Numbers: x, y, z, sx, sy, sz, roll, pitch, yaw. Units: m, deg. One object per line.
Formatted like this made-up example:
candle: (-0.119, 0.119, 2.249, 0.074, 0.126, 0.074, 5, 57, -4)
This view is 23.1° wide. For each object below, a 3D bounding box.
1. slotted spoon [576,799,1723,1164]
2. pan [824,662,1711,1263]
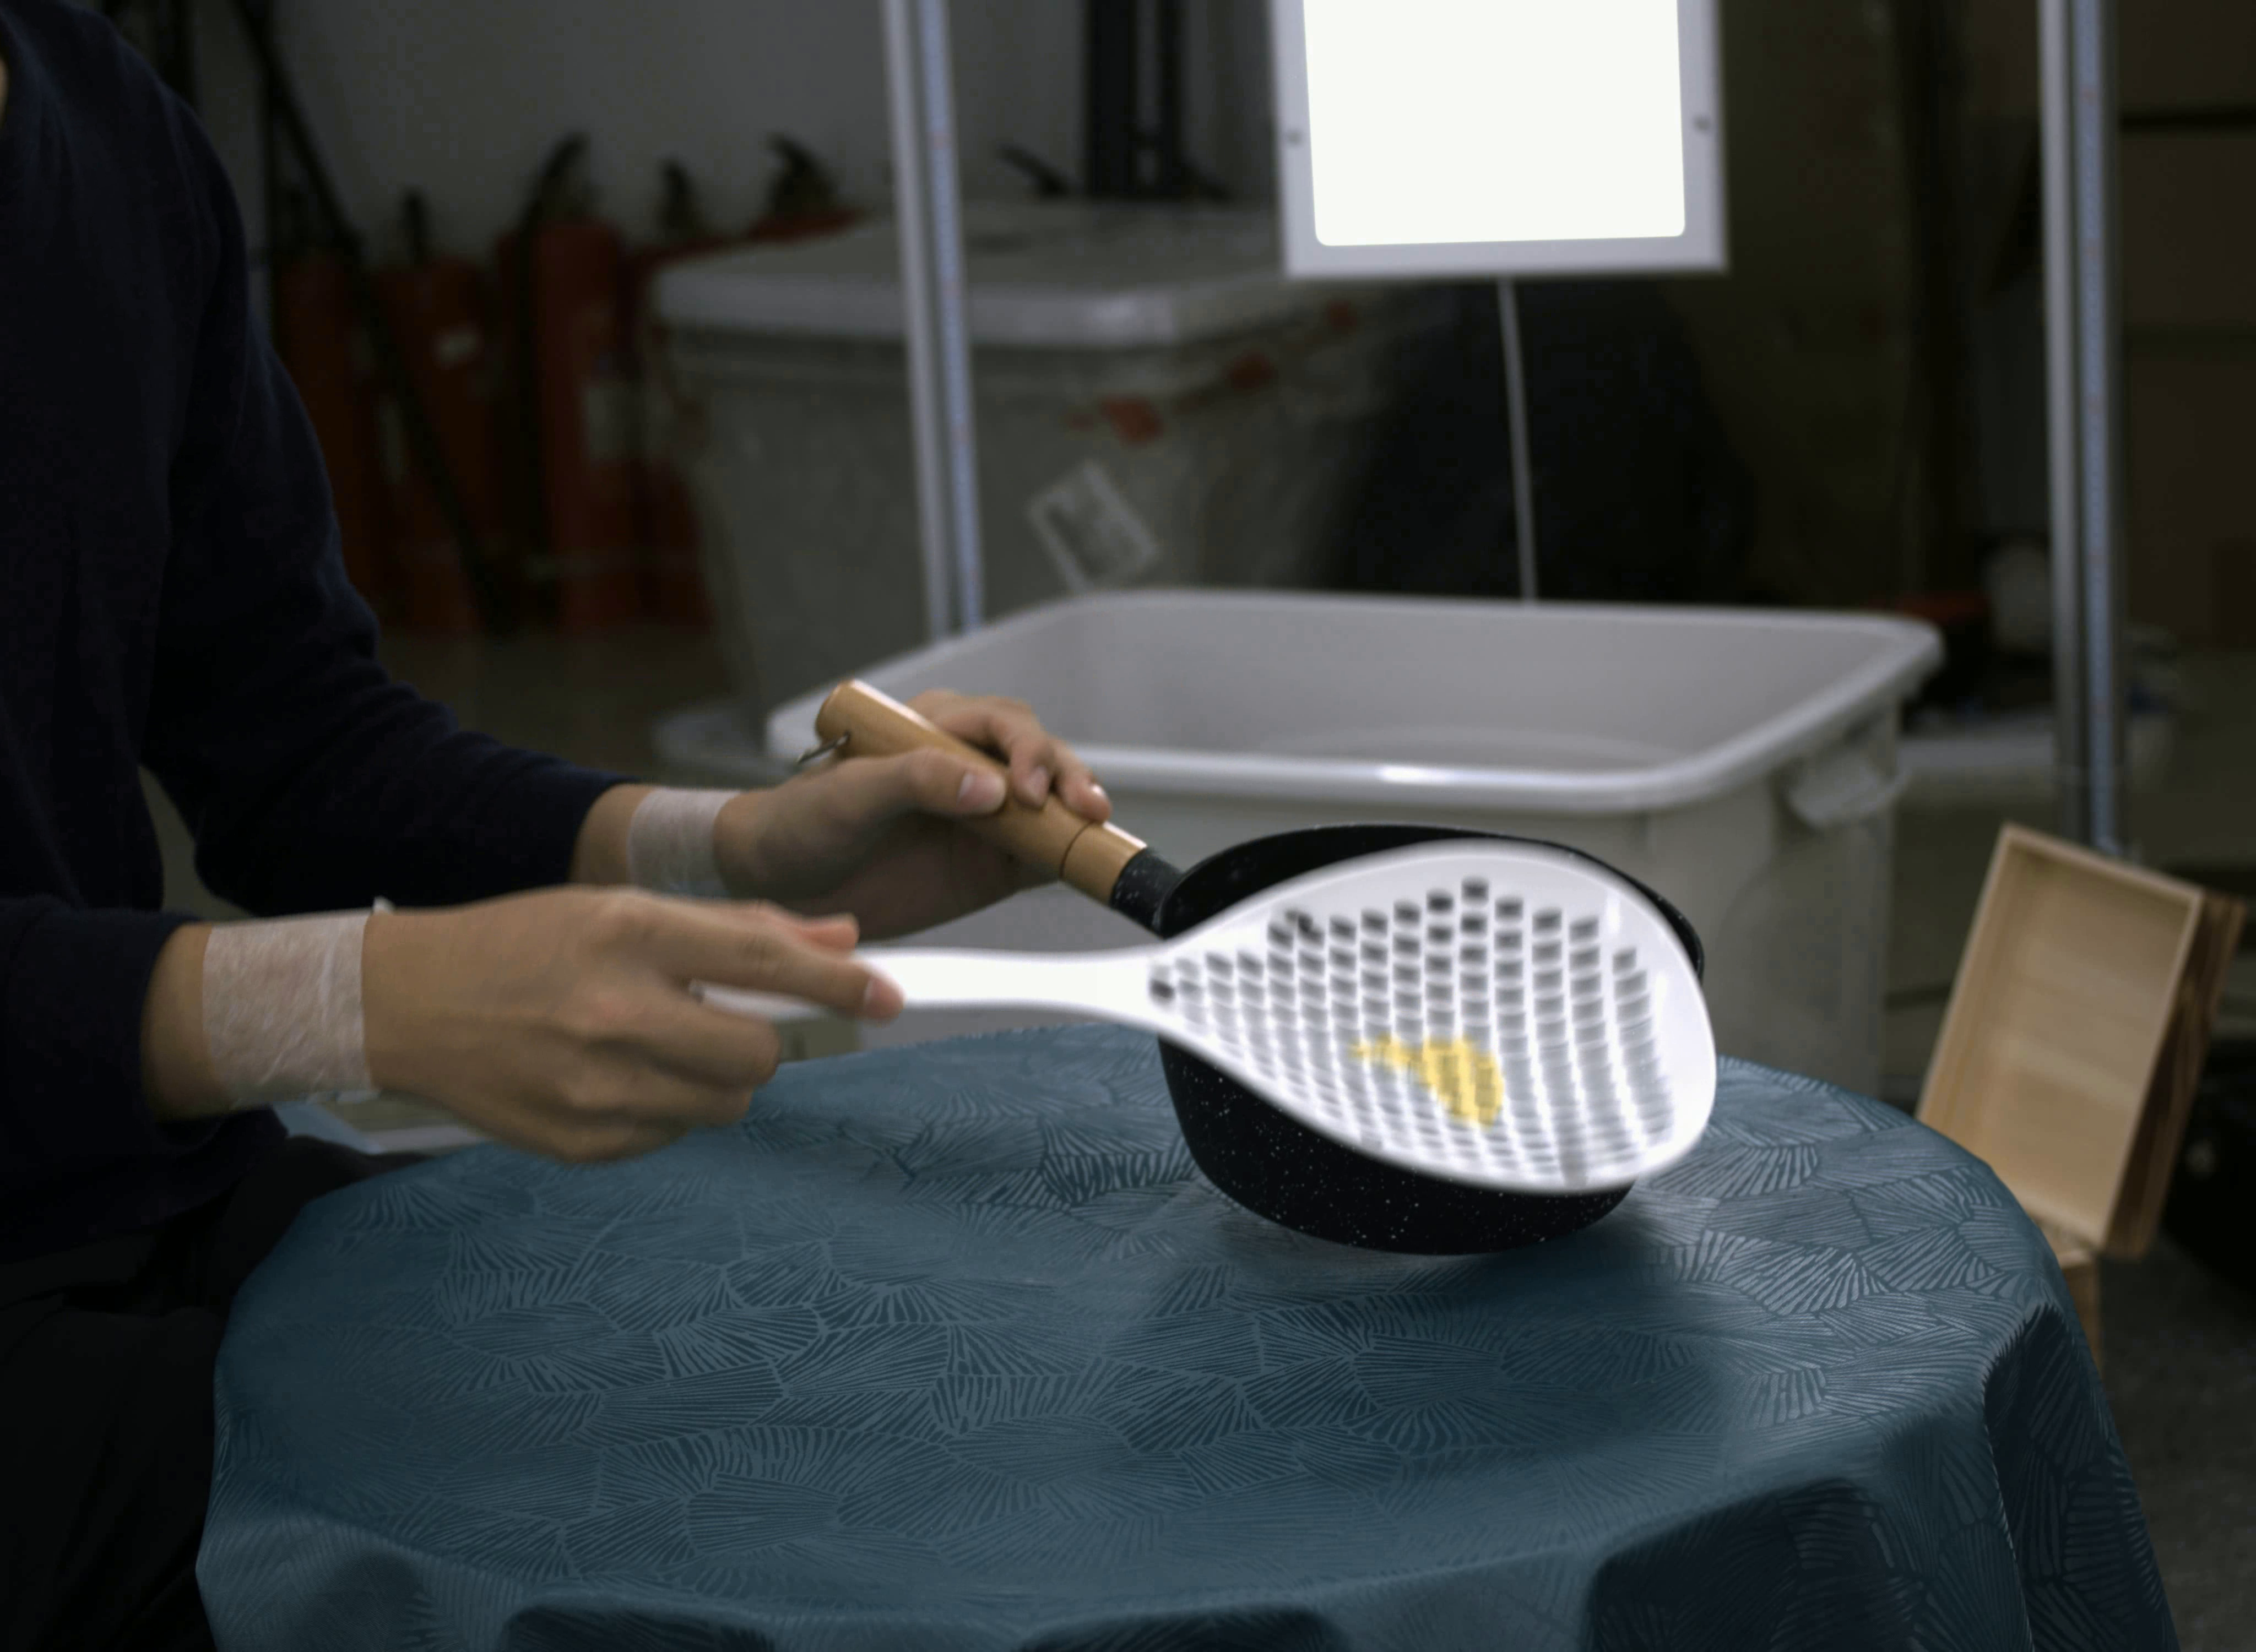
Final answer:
slotted spoon: (0.009, 0.050, 1.647, 0.343, 0.051, 0.137, 4, 50, -15)
pan: (0.034, 0.041, 1.878, 0.348, 0.109, 0.202, 19, 30, 29)
